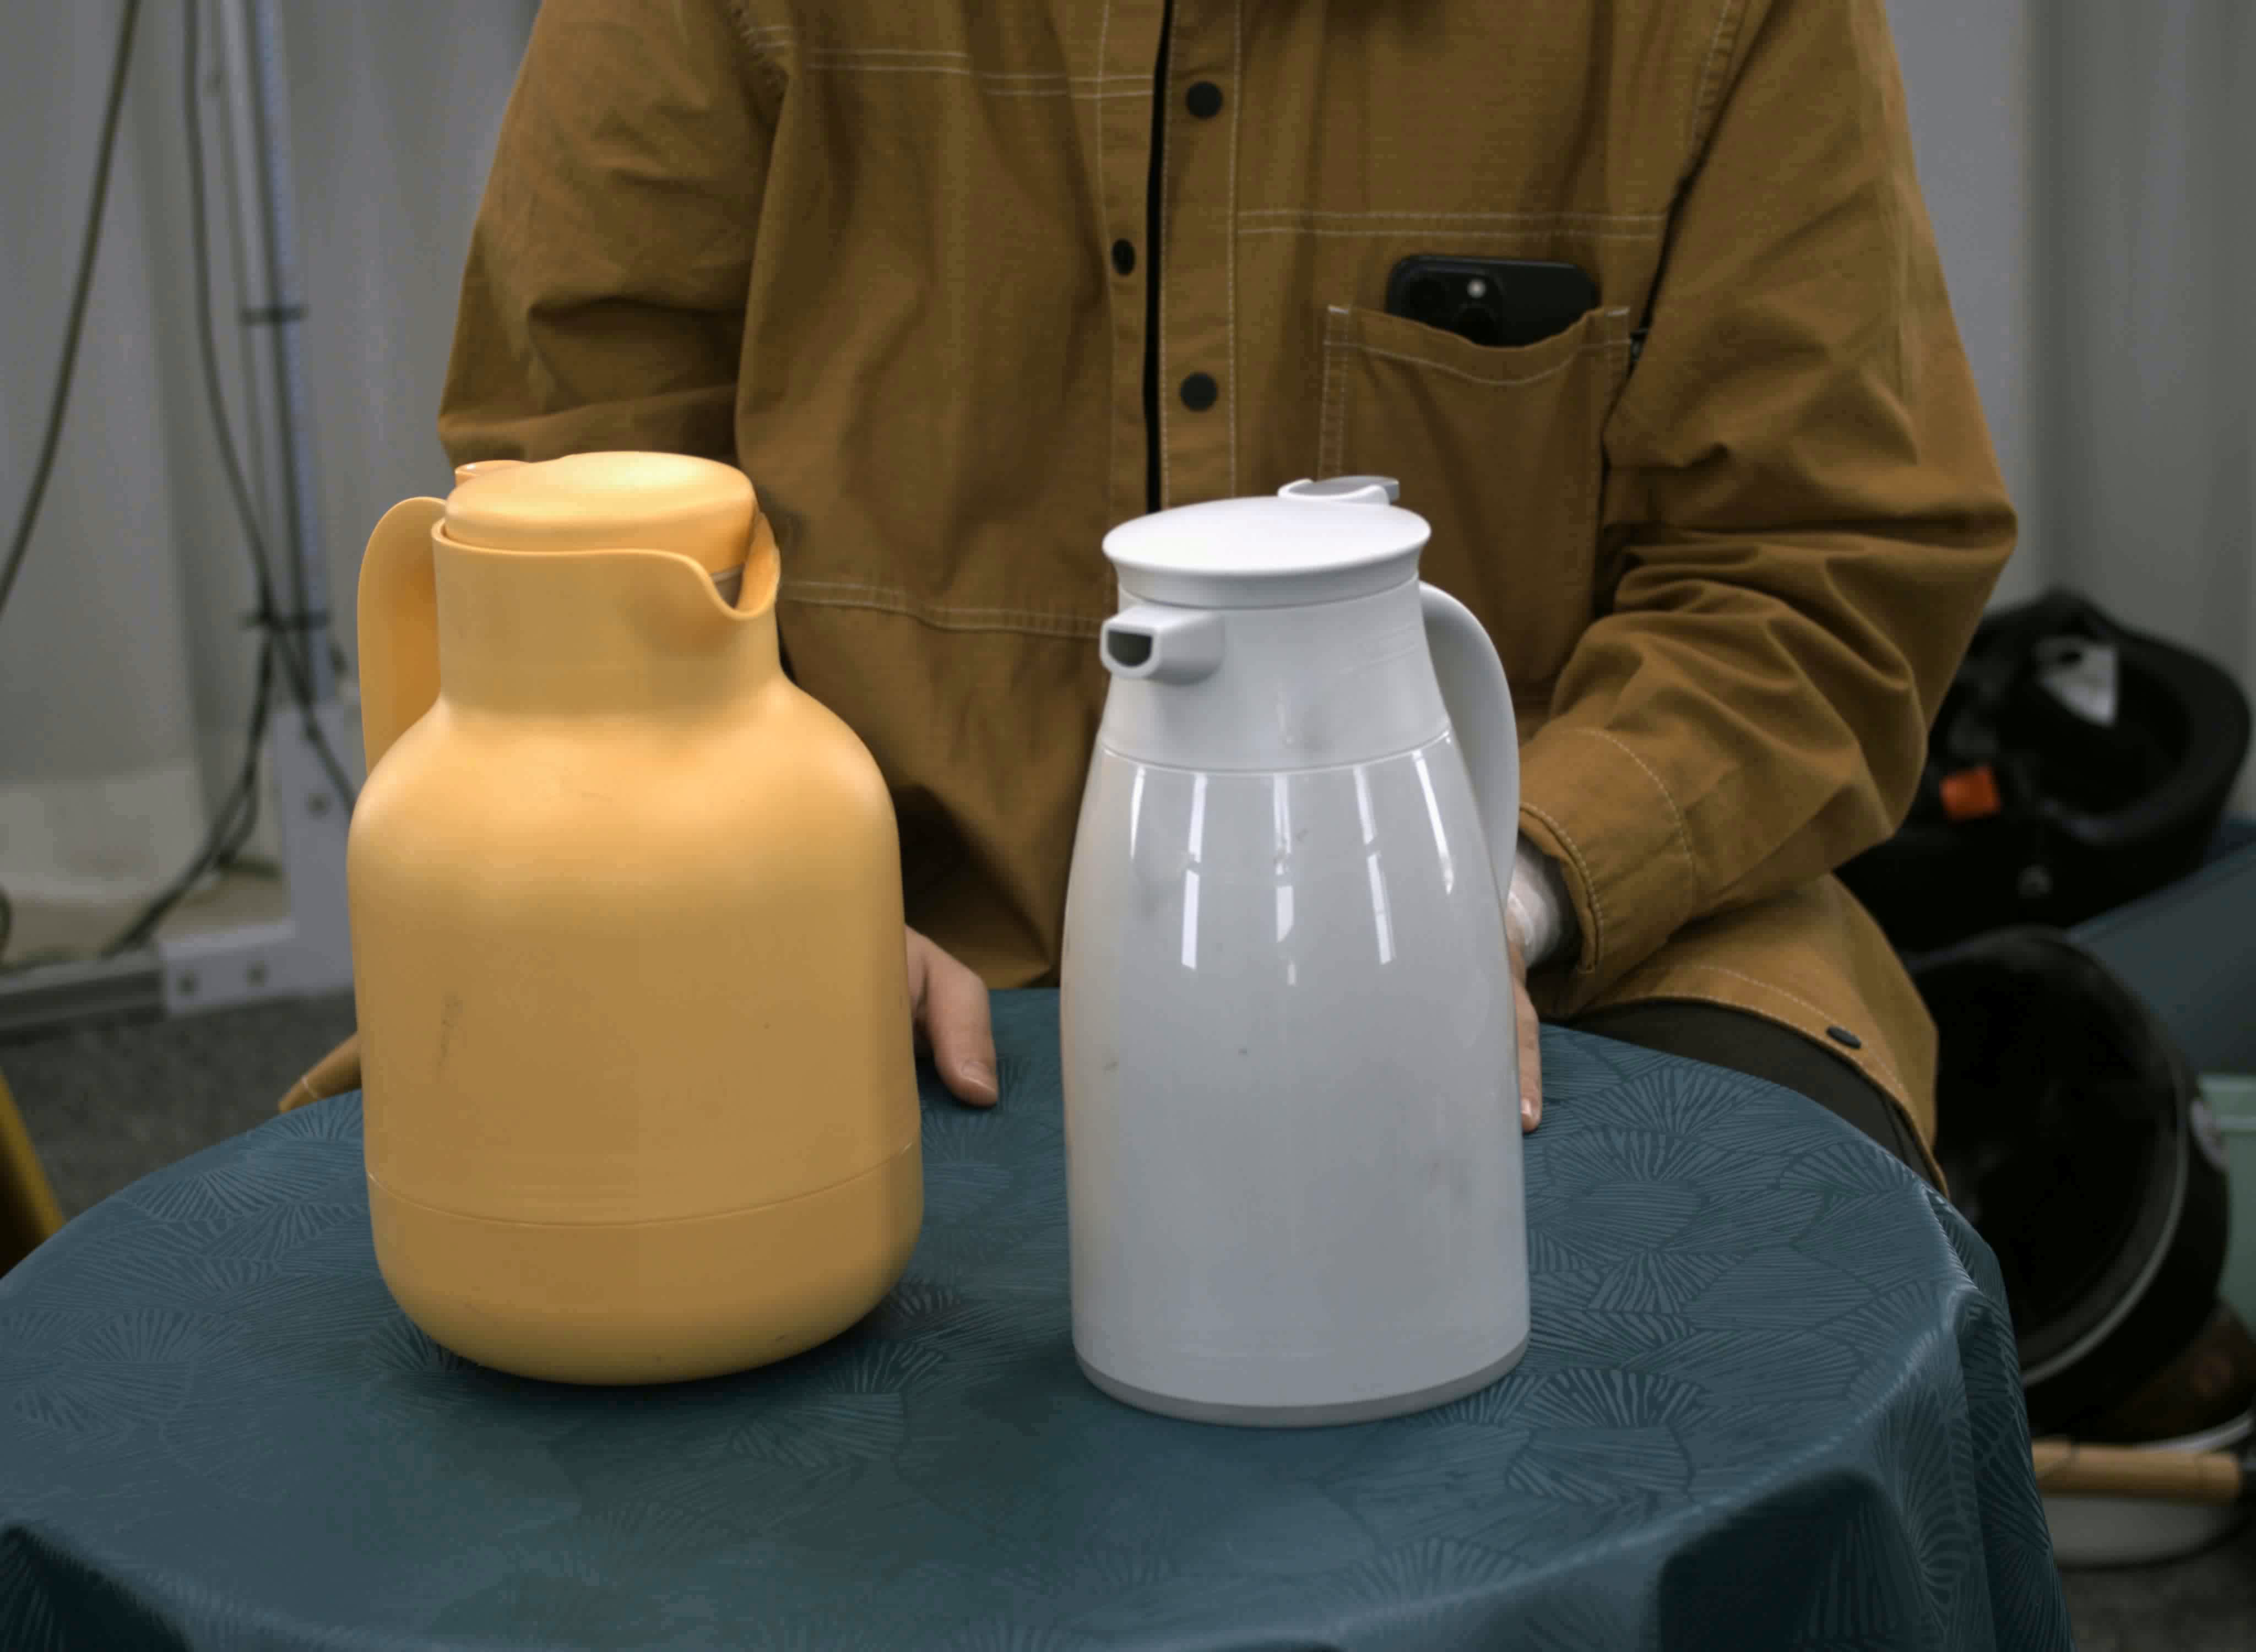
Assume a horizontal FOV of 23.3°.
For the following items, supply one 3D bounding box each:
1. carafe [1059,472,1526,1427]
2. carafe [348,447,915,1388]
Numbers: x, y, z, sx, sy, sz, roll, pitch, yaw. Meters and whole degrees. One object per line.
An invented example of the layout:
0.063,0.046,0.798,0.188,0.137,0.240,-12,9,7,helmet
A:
0.055,0.026,1.558,0.133,0.248,0.167,8,17,38,carafe
-0.156,0.018,1.606,0.163,0.259,0.204,-10,17,-35,carafe
